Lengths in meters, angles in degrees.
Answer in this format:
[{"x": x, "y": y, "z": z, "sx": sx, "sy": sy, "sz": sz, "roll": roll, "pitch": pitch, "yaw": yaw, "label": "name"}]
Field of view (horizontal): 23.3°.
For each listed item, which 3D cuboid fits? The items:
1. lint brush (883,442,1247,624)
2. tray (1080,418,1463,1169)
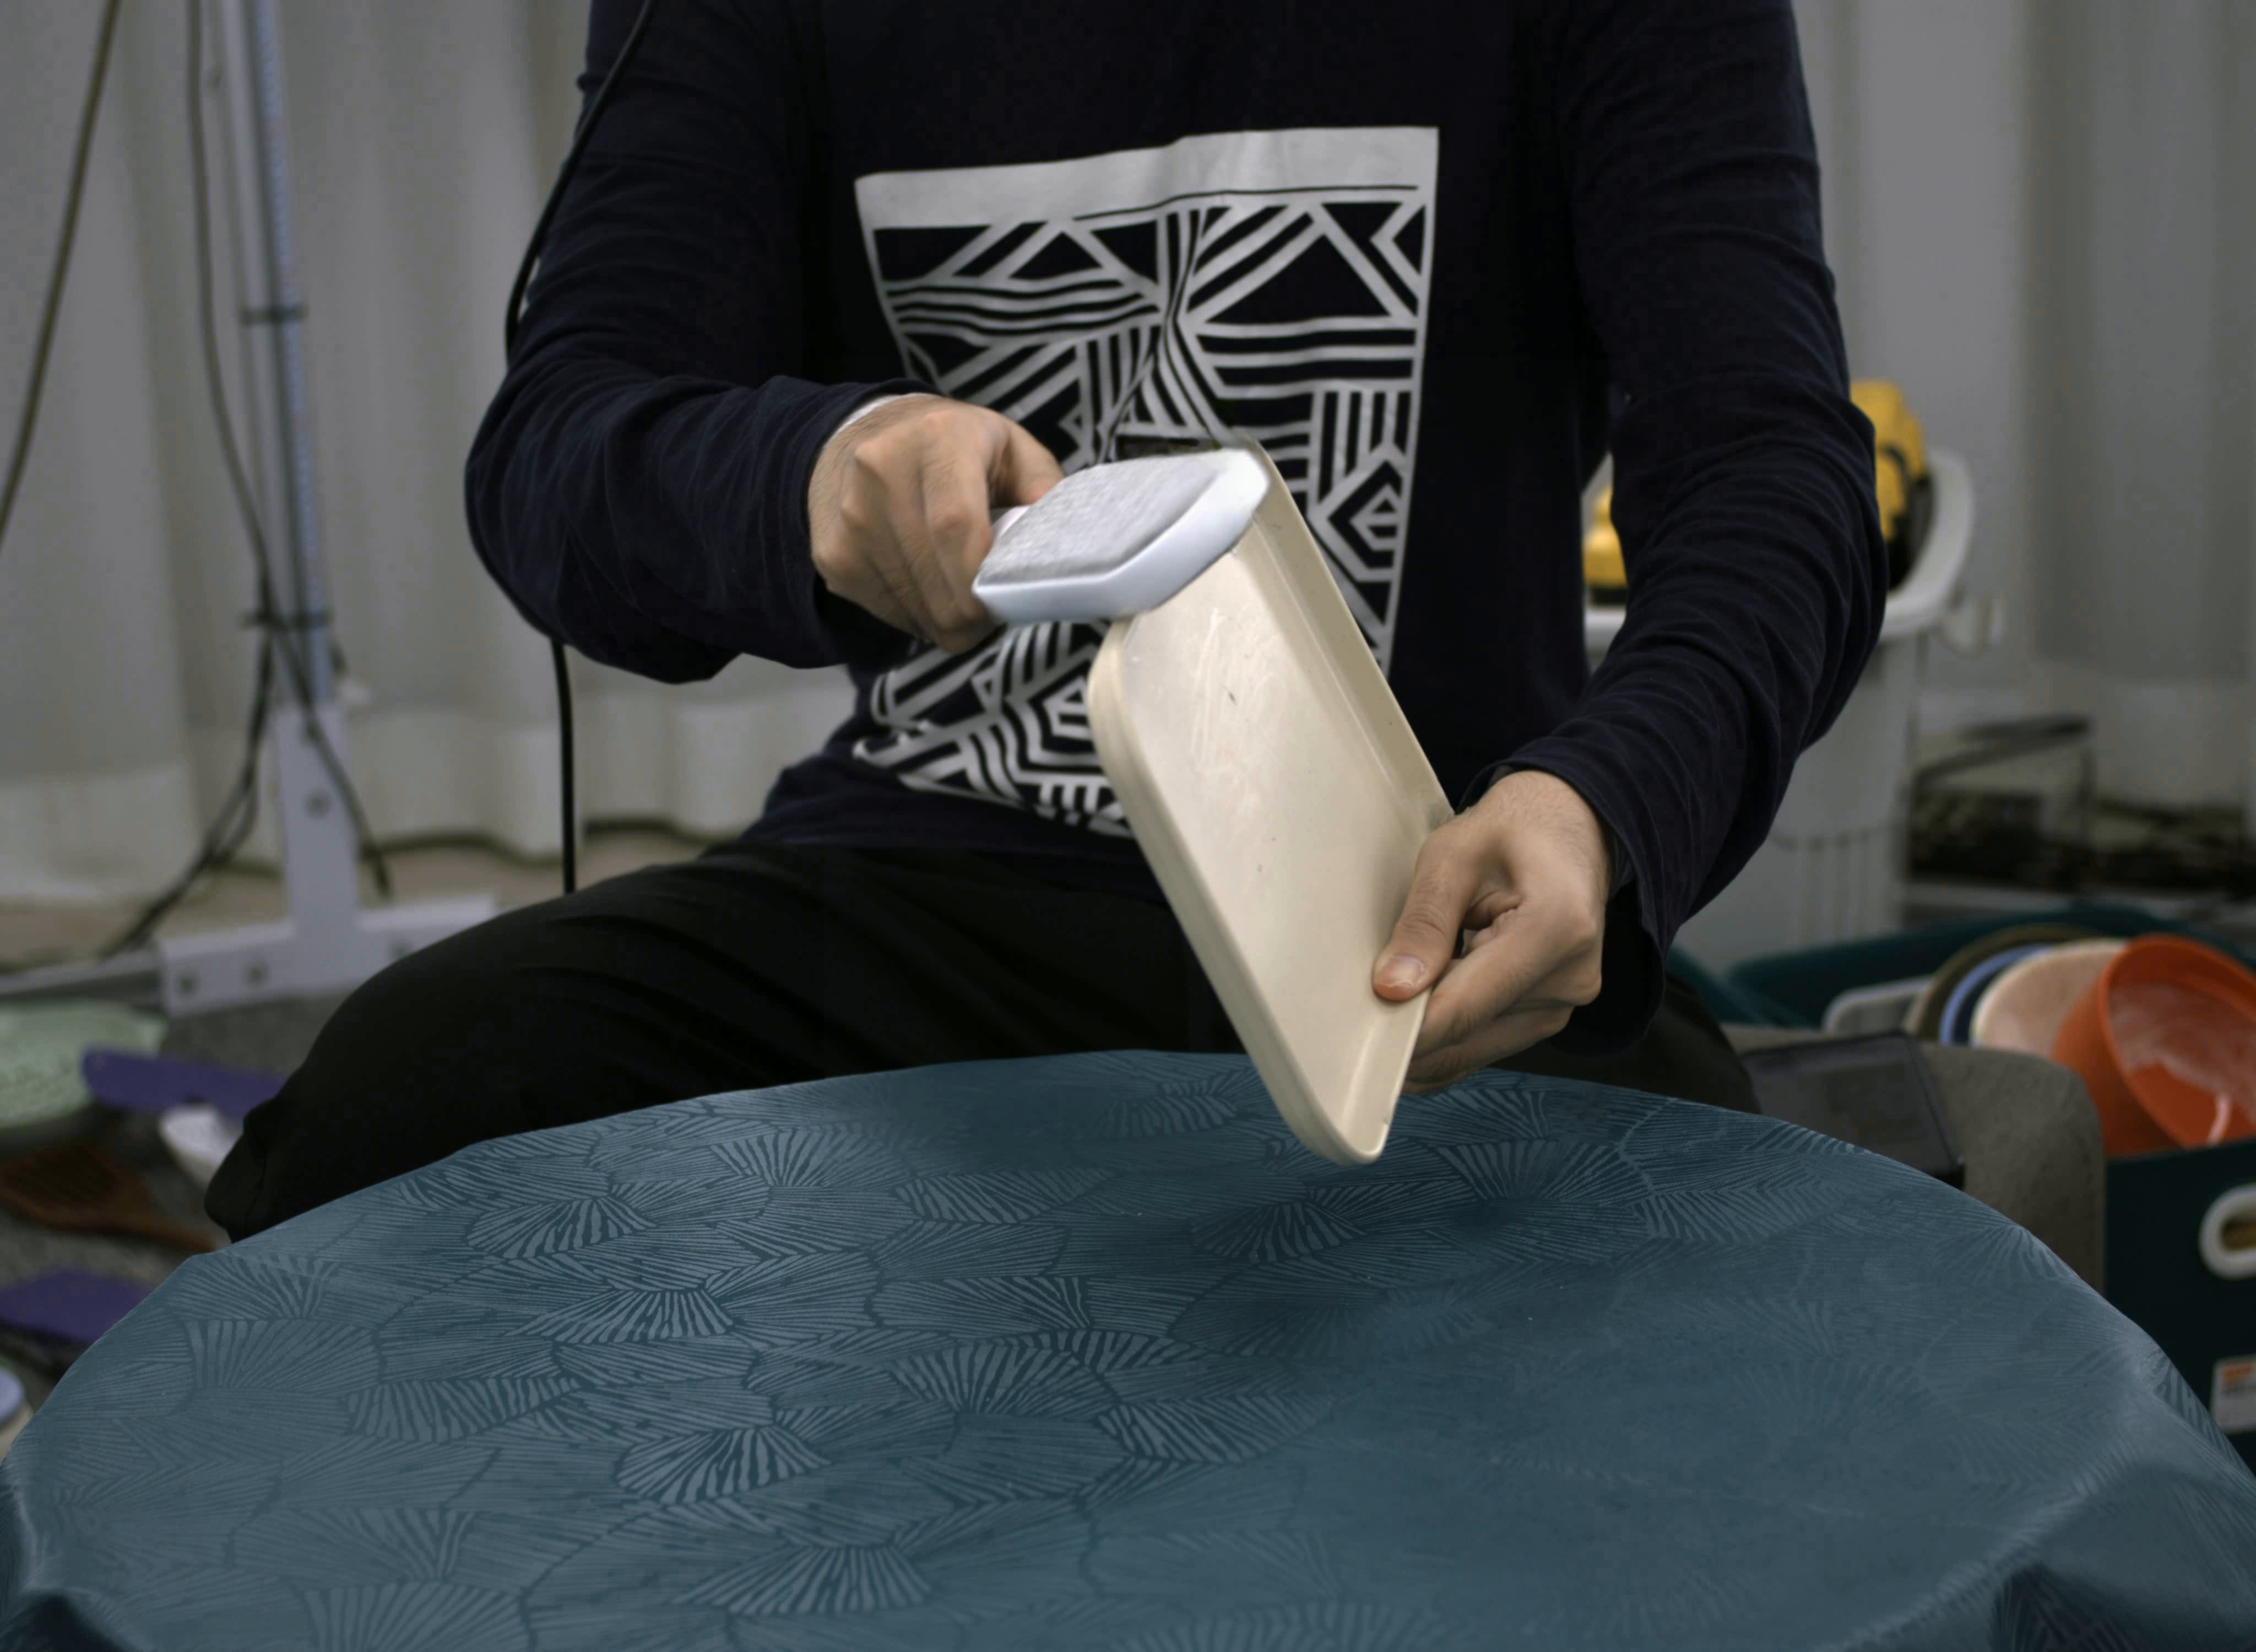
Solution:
[{"x": -0.025, "y": -0.085, "z": 1.631, "sx": 0.060, "sy": 0.021, "sz": 0.309, "roll": -51, "pitch": 14, "yaw": -10, "label": "lint brush"}, {"x": 0.044, "y": -0.012, "z": 1.611, "sx": 0.017, "sy": 0.170, "sz": 0.242, "roll": -23, "pitch": 17, "yaw": 20, "label": "tray"}]
